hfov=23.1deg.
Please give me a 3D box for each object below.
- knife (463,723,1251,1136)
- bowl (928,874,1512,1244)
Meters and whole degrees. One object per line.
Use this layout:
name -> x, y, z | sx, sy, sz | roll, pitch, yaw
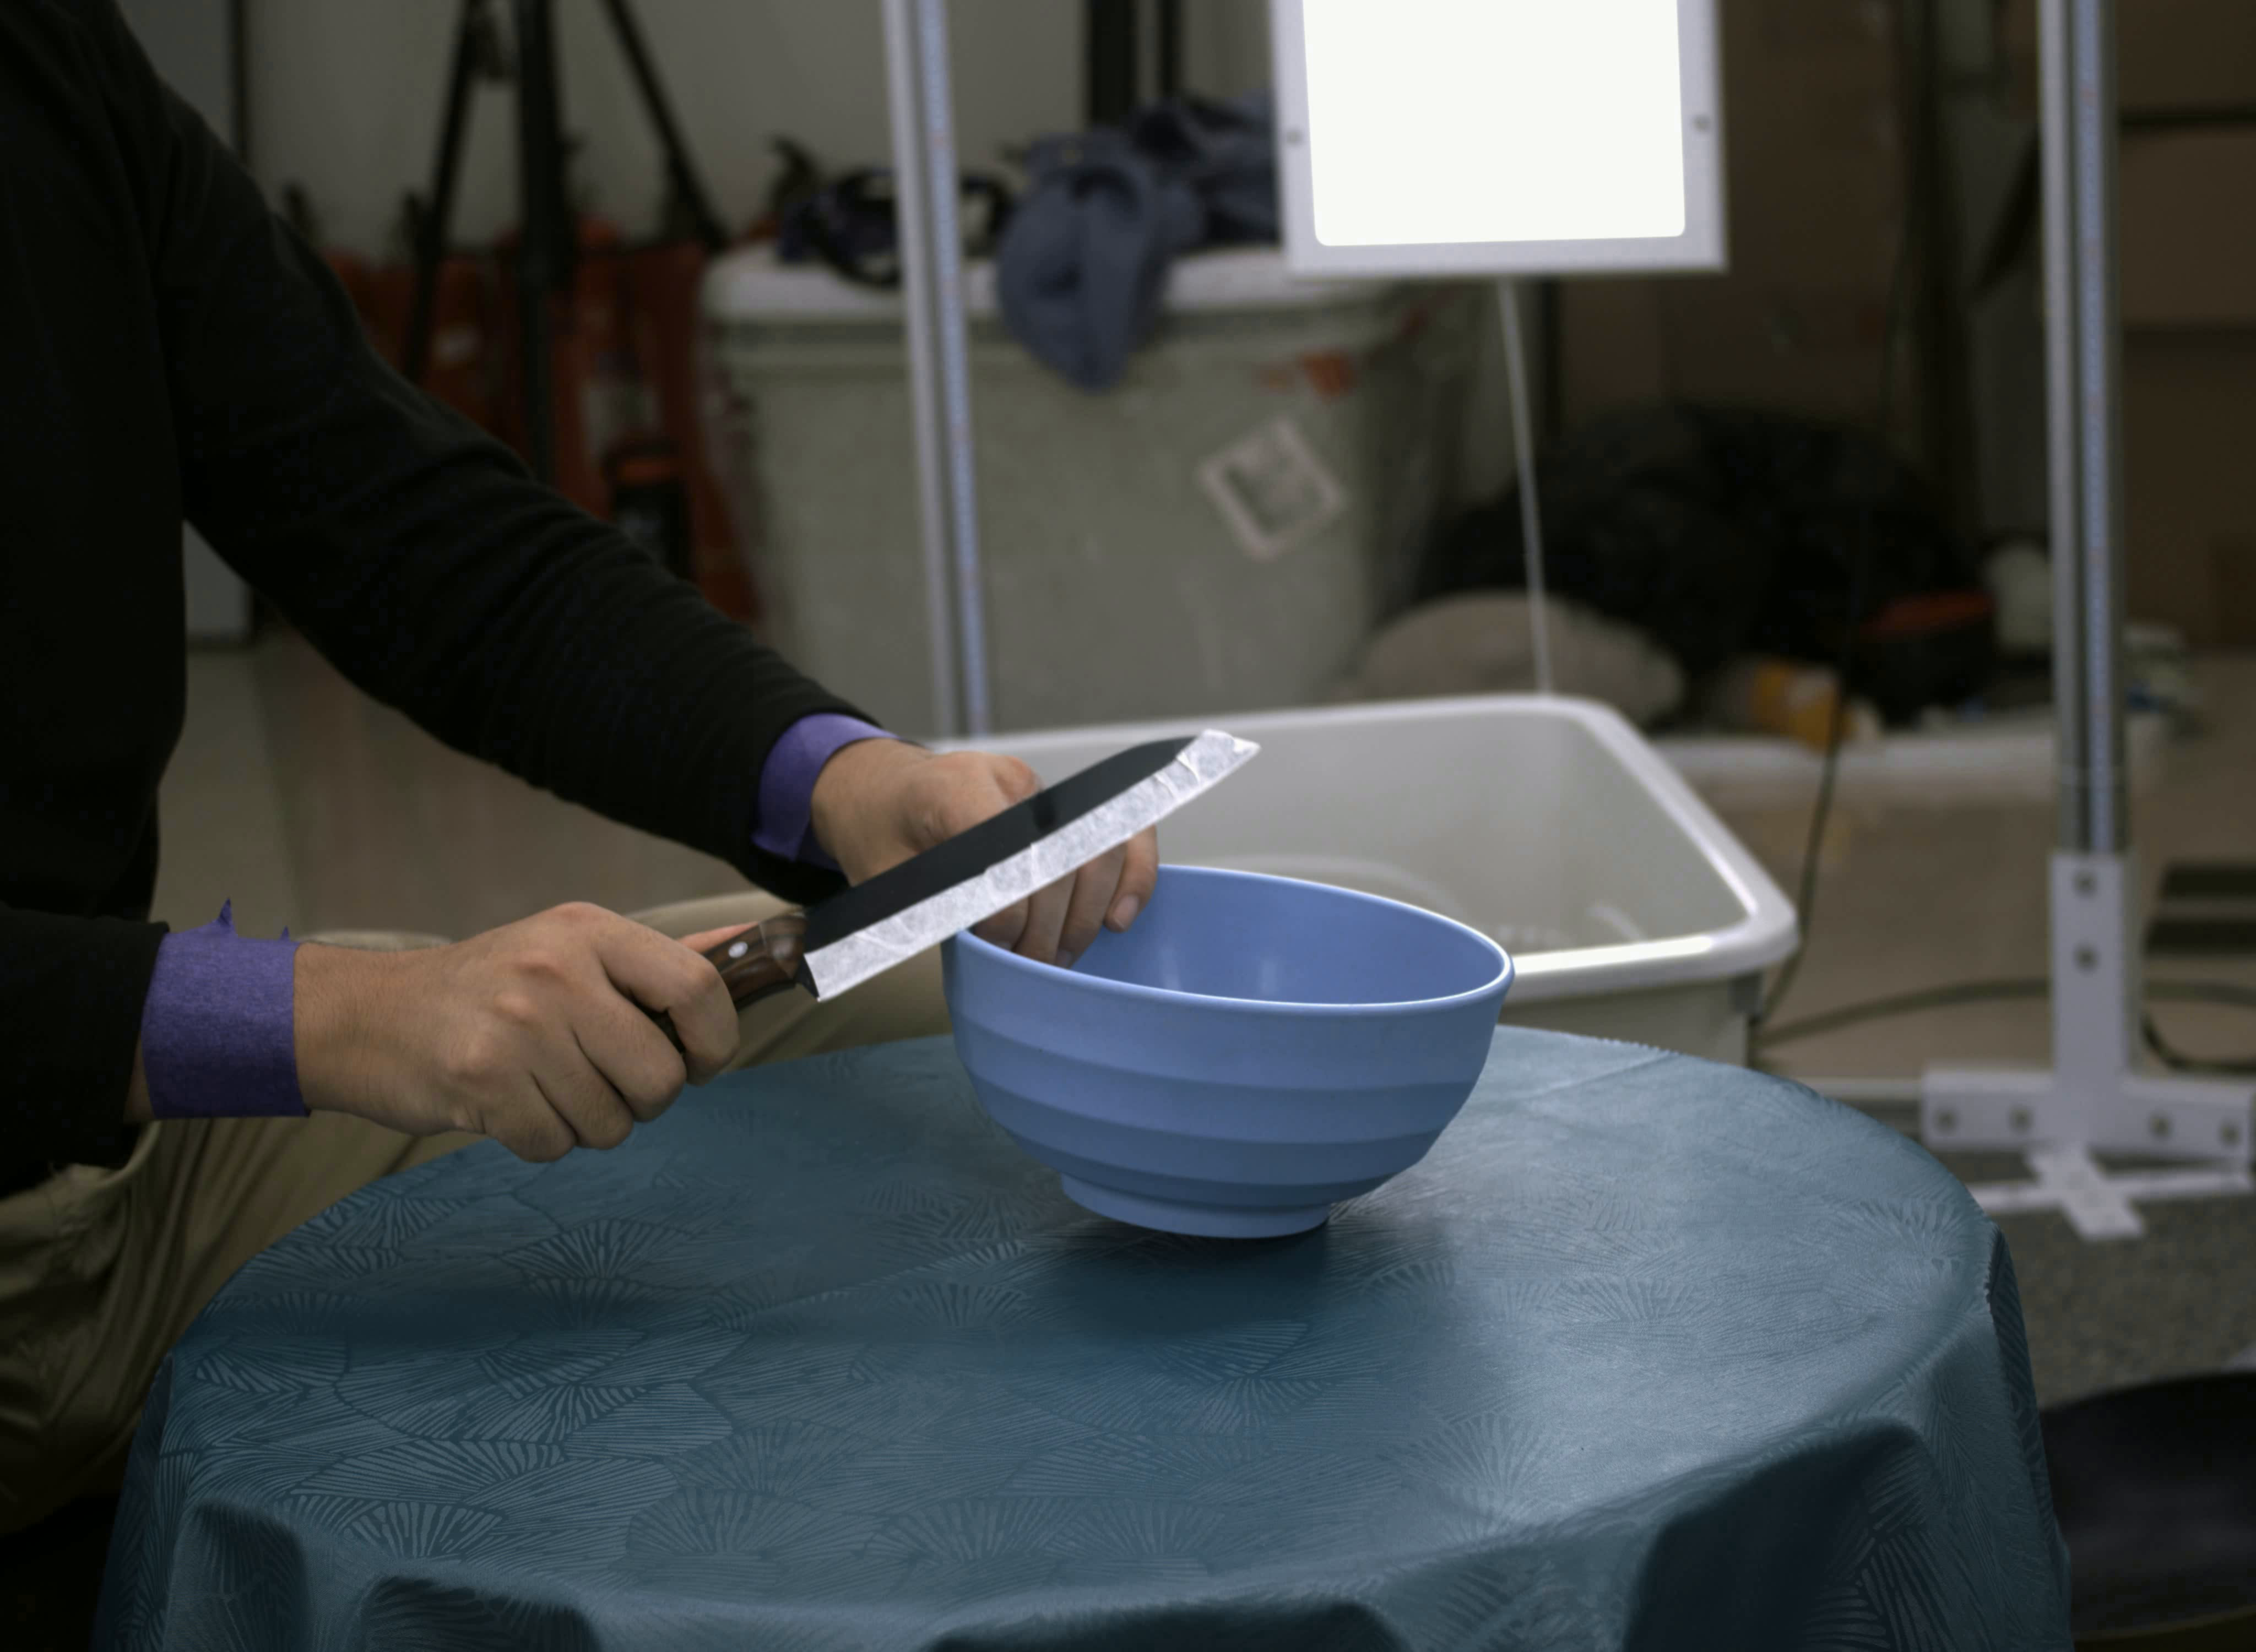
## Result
knife -> -0.089, 0.032, 1.824 | 0.290, 0.020, 0.050 | -26, 42, 5
bowl -> 0.027, 0.082, 1.848 | 0.195, 0.096, 0.196 | 4, 12, -2
